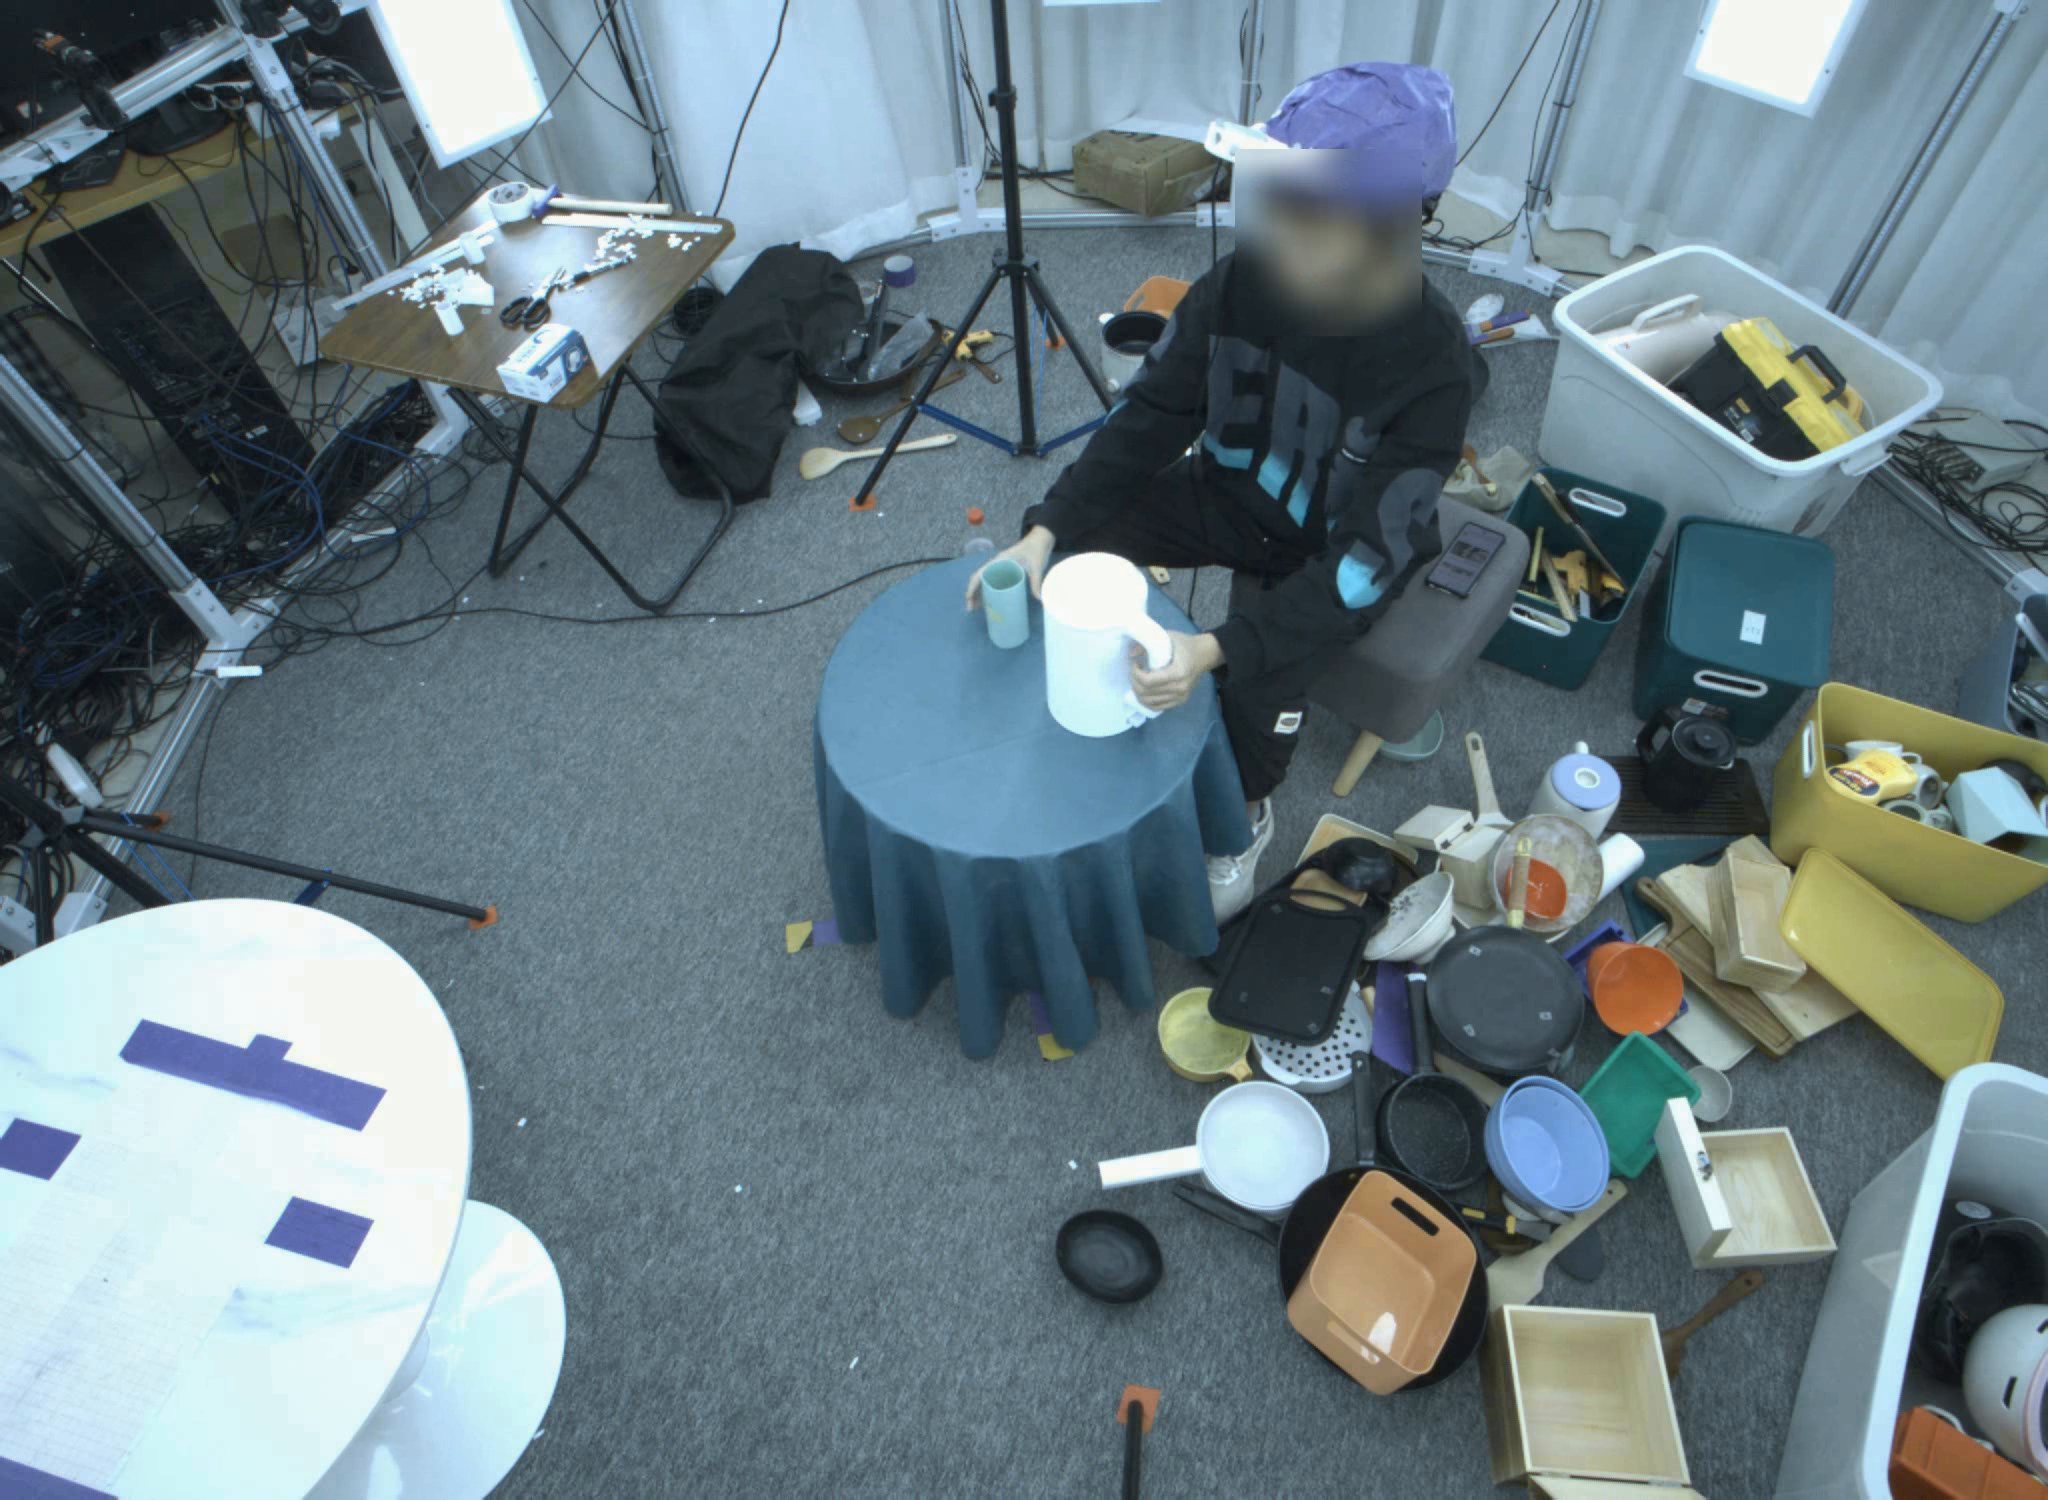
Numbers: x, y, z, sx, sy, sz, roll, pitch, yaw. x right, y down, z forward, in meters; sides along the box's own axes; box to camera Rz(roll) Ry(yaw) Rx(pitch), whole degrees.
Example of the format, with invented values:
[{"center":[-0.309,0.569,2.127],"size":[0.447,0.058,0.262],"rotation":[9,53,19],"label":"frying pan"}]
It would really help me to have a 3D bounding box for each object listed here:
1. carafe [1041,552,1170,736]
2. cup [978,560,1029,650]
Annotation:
[{"center":[0.117,-0.132,1.730],"size":[0.153,0.243,0.209],"rotation":[-39,61,-20],"label":"carafe"},{"center":[-0.029,-0.220,1.864],"size":[0.066,0.134,0.066],"rotation":[-2,54,4],"label":"cup"}]
